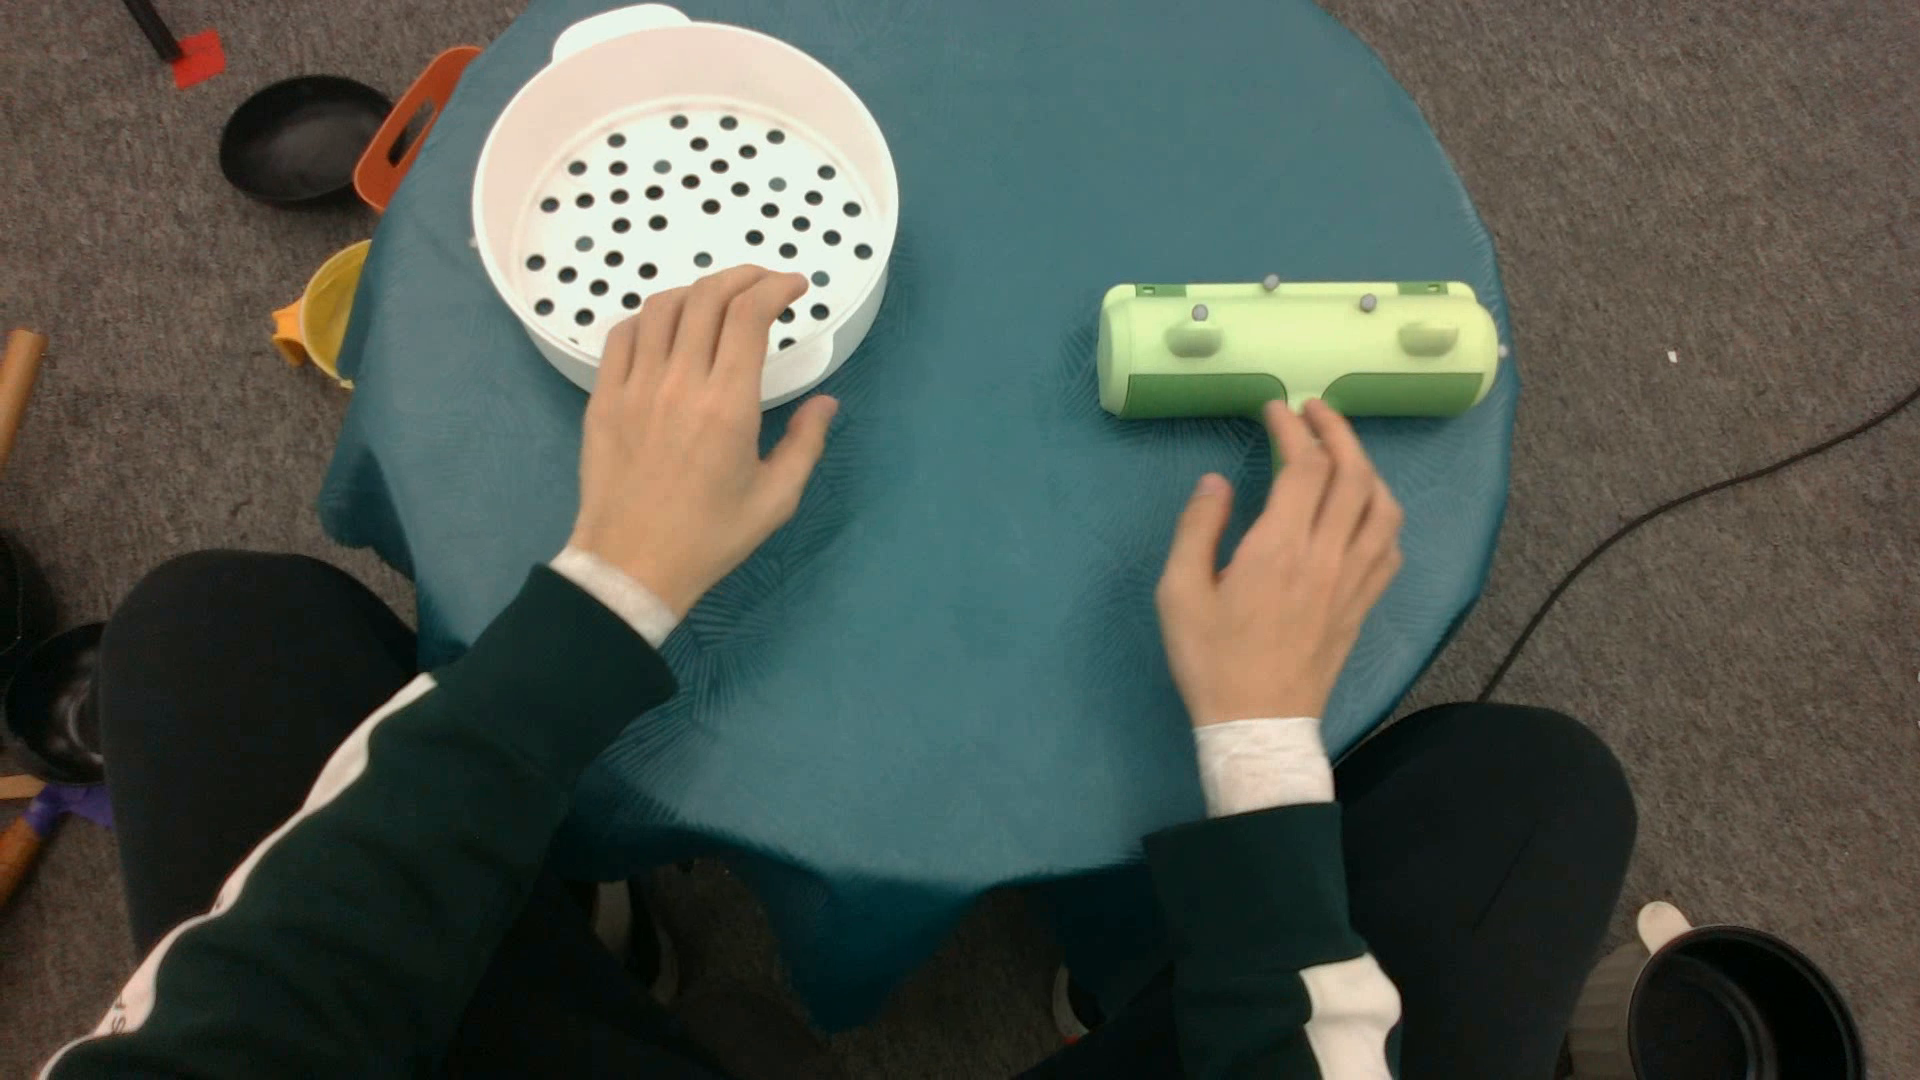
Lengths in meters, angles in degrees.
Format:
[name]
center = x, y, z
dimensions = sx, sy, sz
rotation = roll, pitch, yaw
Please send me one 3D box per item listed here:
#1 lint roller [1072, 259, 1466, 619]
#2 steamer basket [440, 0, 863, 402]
[lint roller]
center = 0.161, -0.058, 0.677
dimensions = 0.199, 0.082, 0.184
rotation = -2, 66, -6
[steamer basket]
center = -0.150, -0.166, 0.692
dimensions = 0.202, 0.069, 0.231
rotation = -23, 73, -13
